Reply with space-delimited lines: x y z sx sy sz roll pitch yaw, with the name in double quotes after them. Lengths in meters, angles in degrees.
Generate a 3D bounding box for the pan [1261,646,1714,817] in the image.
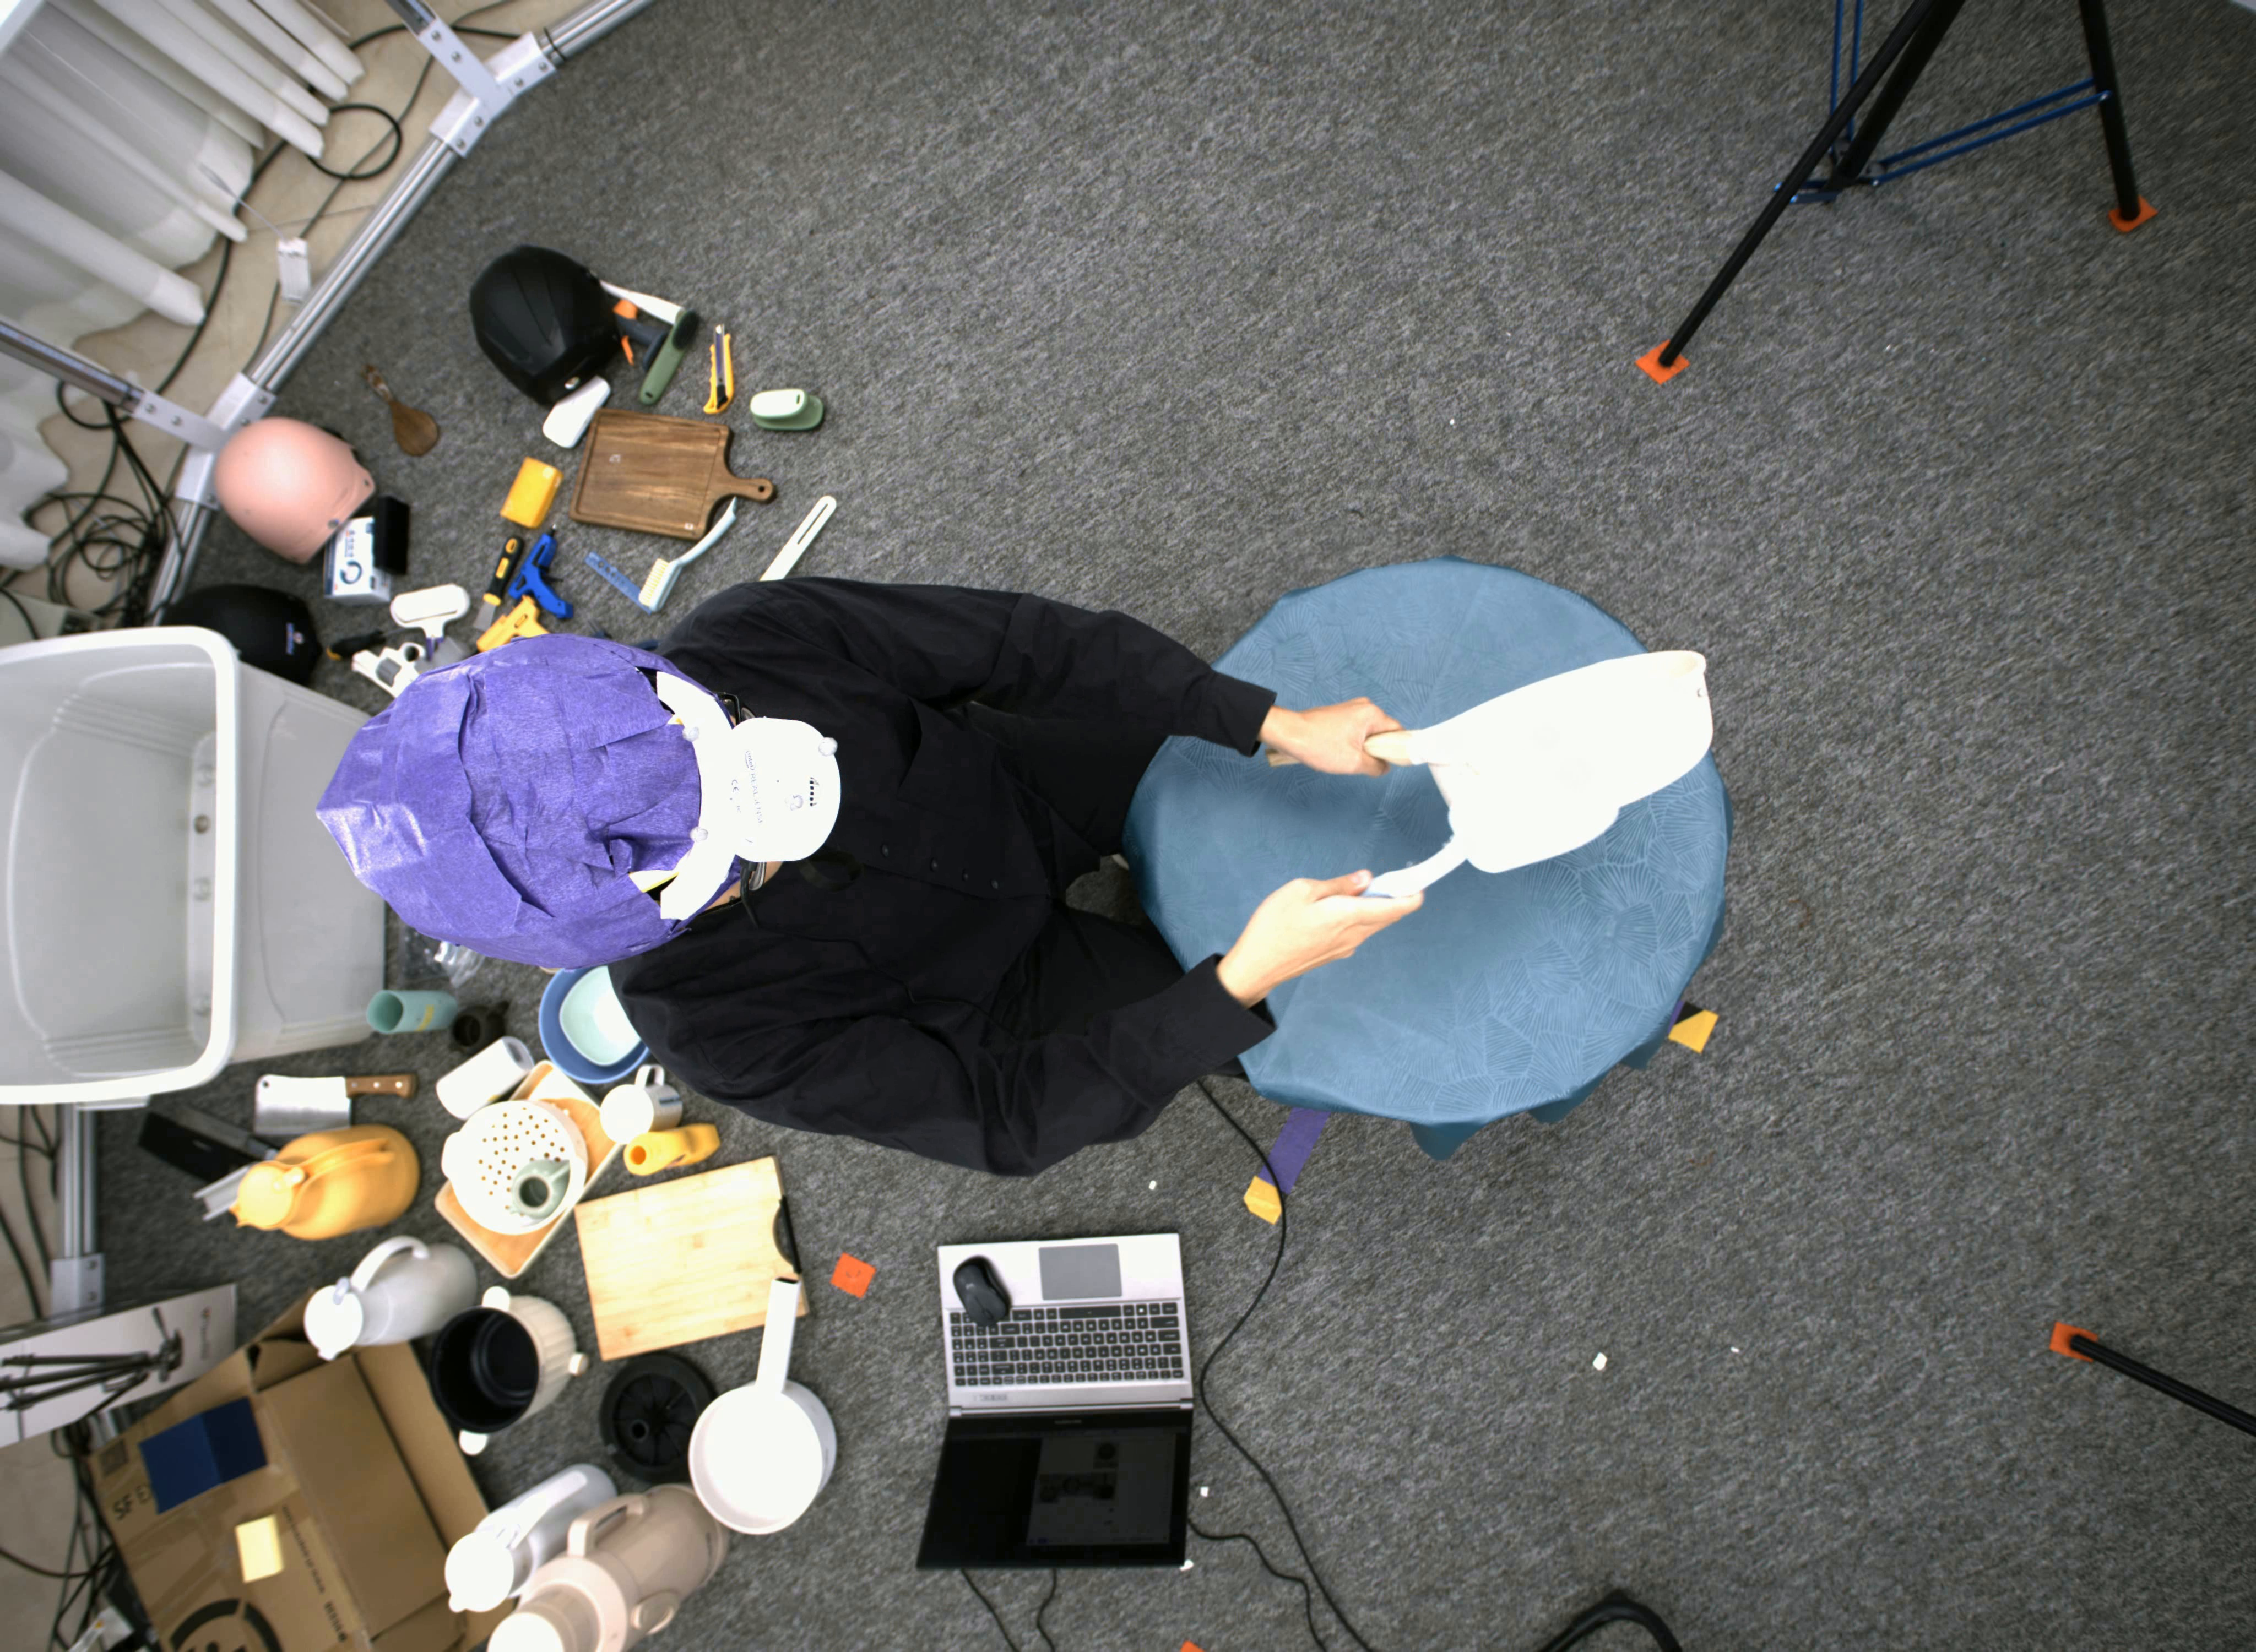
0.317 -0.065 1.255 0.440 0.258 0.103 -13 106 42 "pan"

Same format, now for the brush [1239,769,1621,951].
0.240 0.023 1.127 0.330 0.084 0.082 -22 70 24 "brush"
